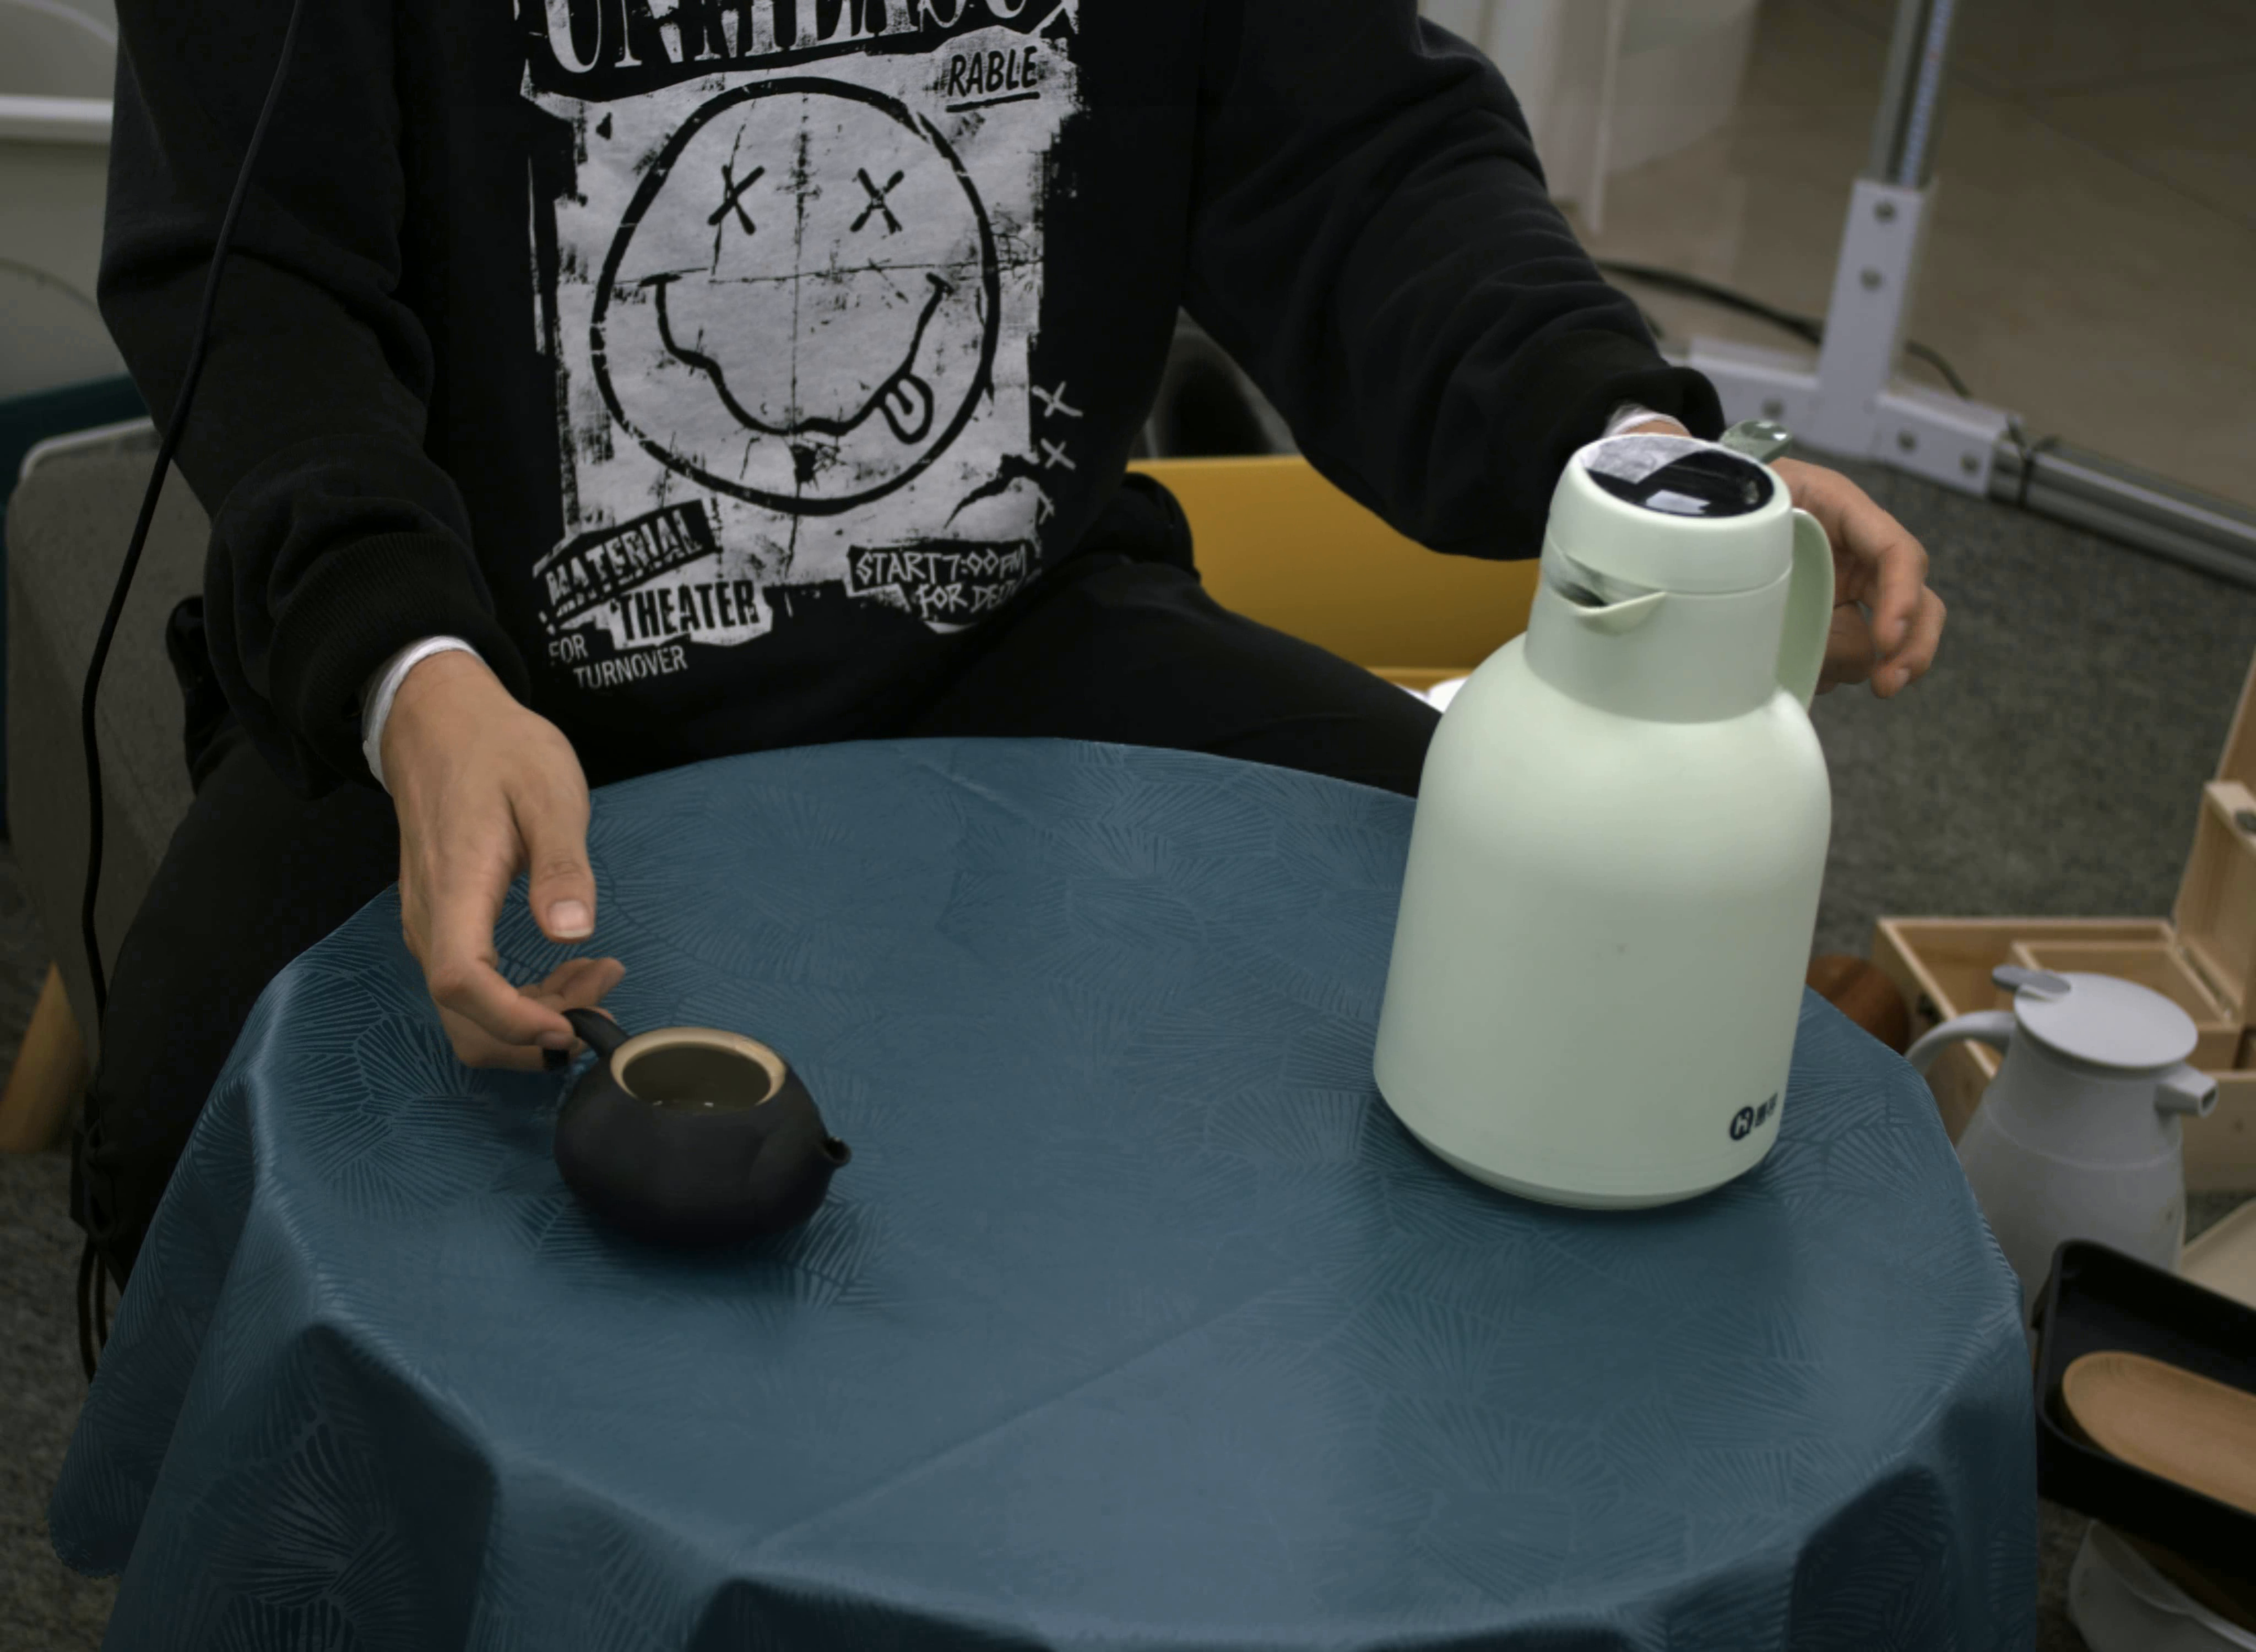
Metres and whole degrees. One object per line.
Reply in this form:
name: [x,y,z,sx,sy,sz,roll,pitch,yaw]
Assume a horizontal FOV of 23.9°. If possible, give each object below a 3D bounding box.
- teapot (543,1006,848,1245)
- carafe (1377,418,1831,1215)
teapot: [-0.145,0.102,1.756,0.134,0.053,0.090,26,31,32]
carafe: [0.178,-0.010,1.832,0.145,0.256,0.186,21,26,29]
